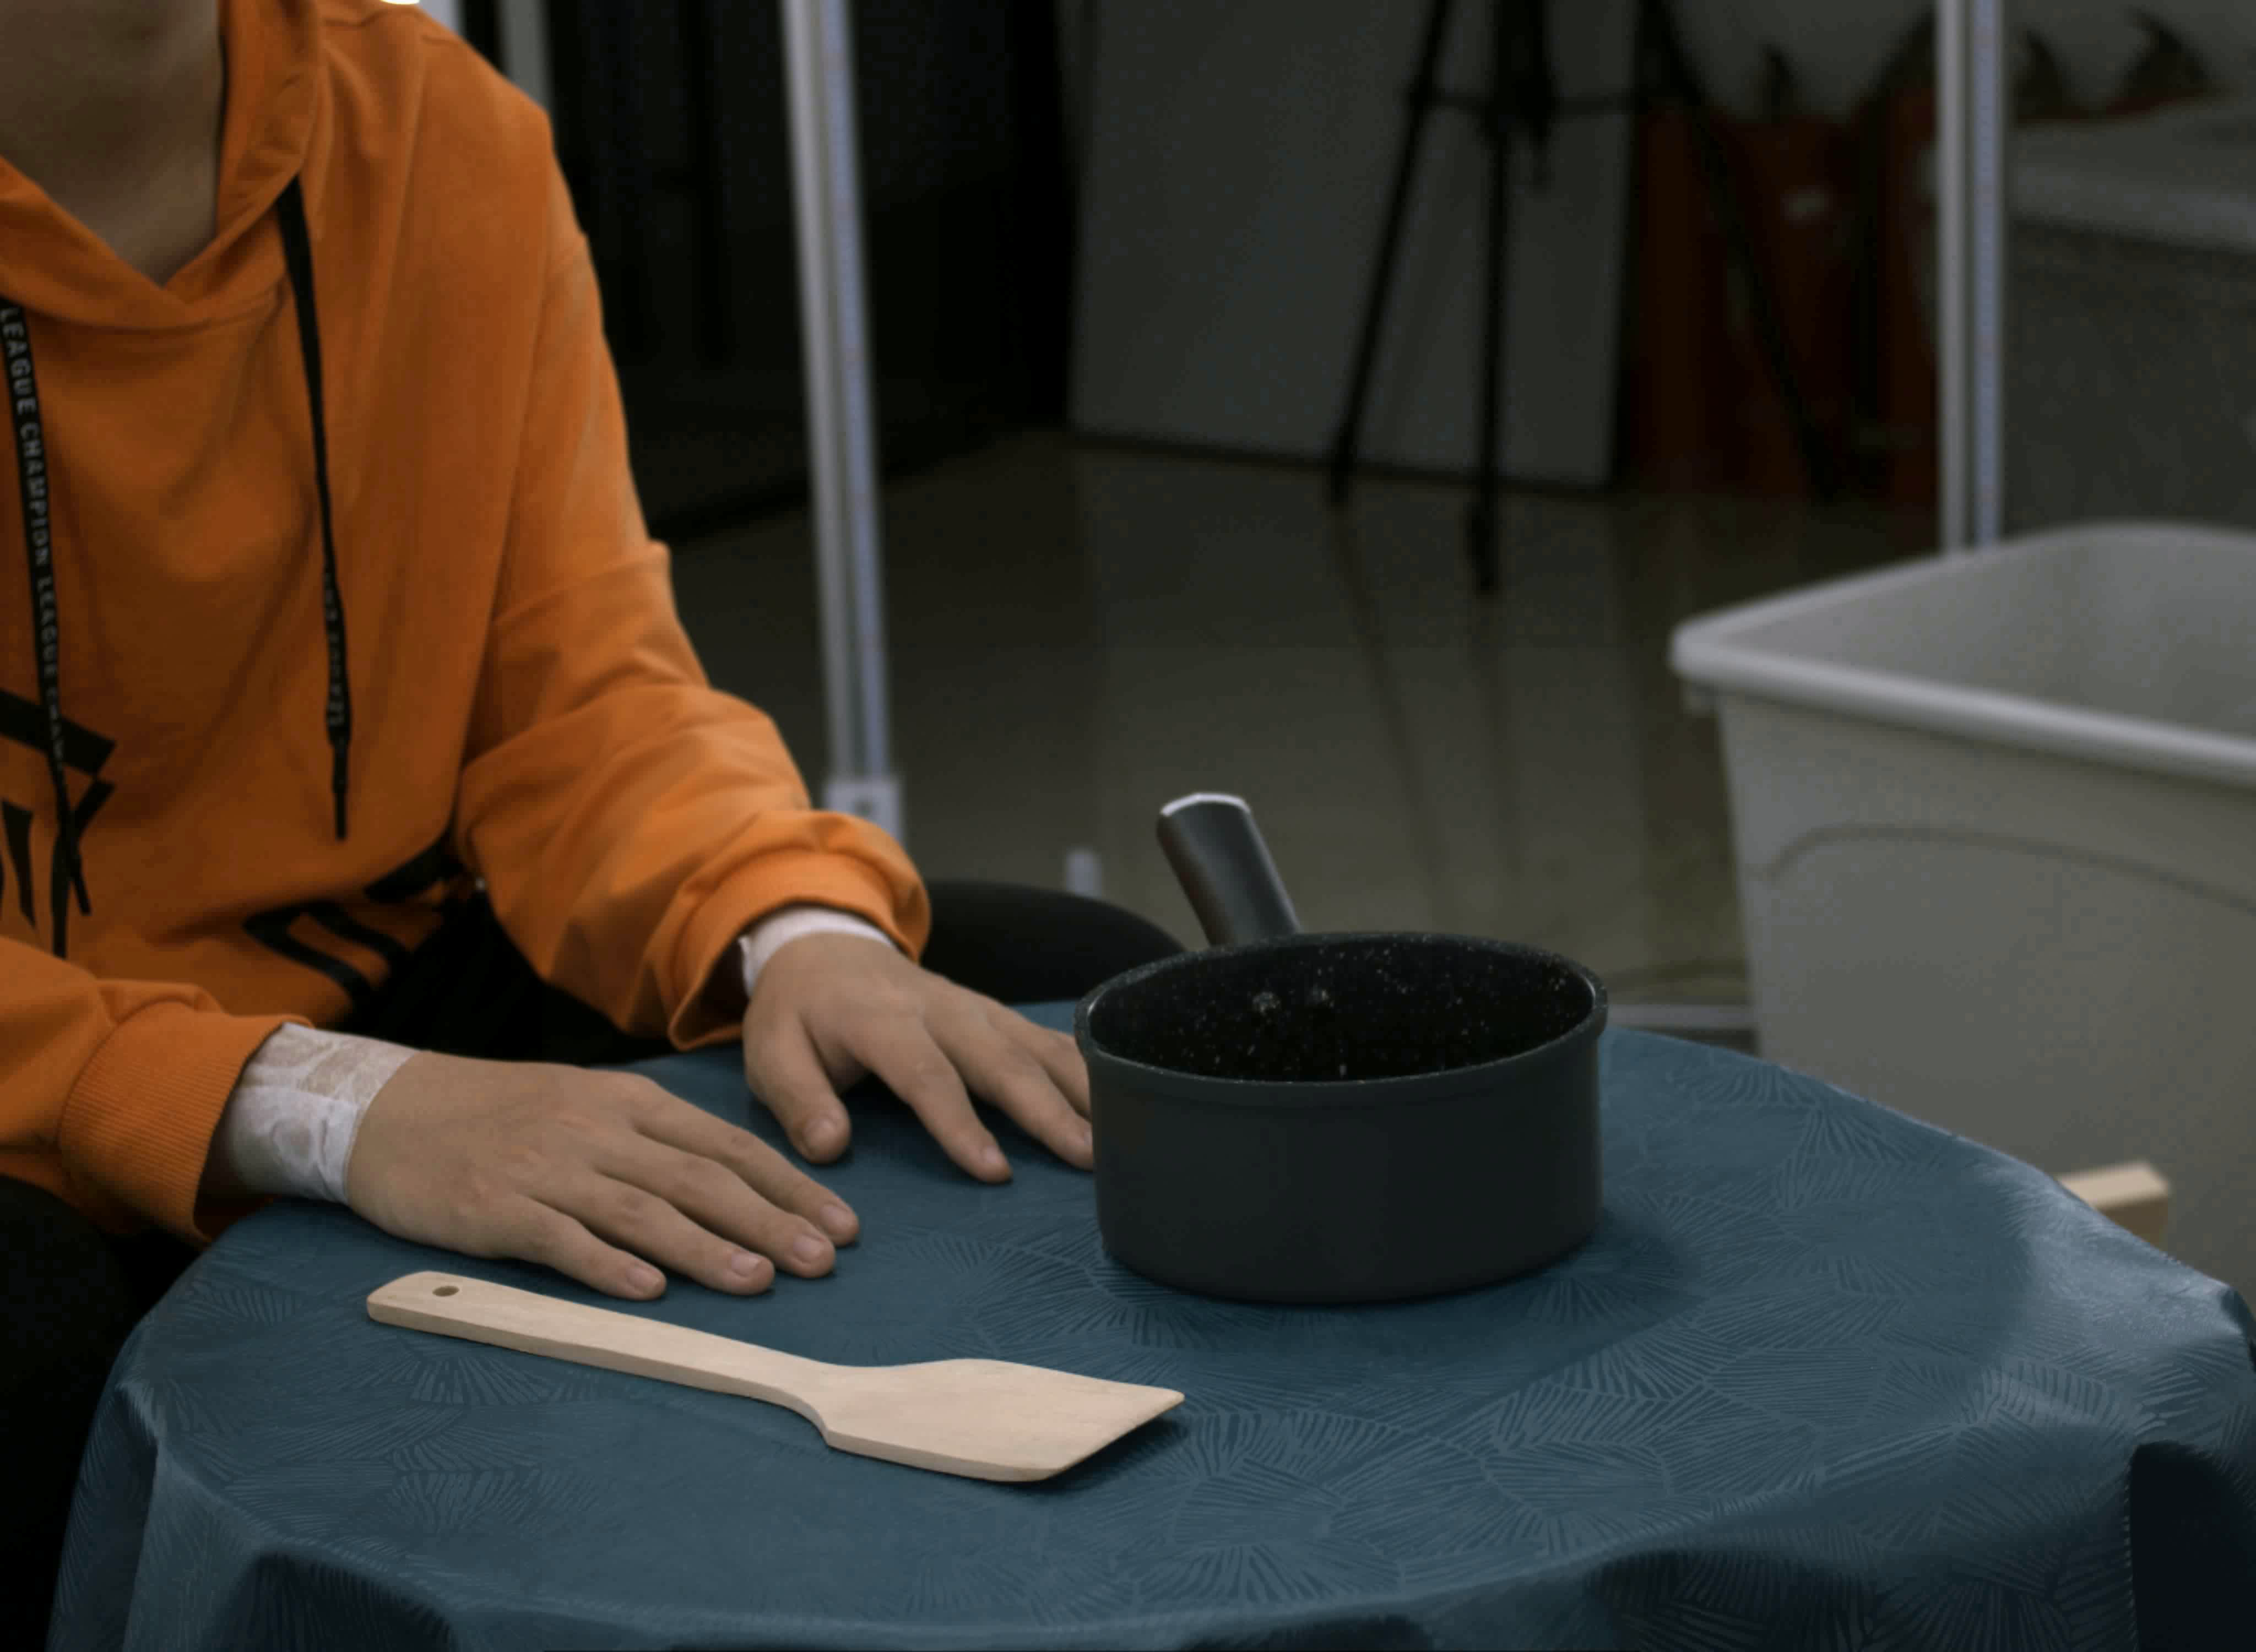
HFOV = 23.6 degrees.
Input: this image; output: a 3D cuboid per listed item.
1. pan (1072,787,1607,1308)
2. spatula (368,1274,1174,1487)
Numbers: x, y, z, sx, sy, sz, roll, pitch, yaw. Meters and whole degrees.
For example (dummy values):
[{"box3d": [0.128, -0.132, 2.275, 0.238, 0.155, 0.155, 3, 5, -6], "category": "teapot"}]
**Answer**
[{"box3d": [0.059, 0.070, 1.786, 0.169, 0.087, 0.330, -5, 15, -6], "category": "pan"}, {"box3d": [-0.119, 0.163, 1.620, 0.295, 0.011, 0.071, 7, 21, 38], "category": "spatula"}]
